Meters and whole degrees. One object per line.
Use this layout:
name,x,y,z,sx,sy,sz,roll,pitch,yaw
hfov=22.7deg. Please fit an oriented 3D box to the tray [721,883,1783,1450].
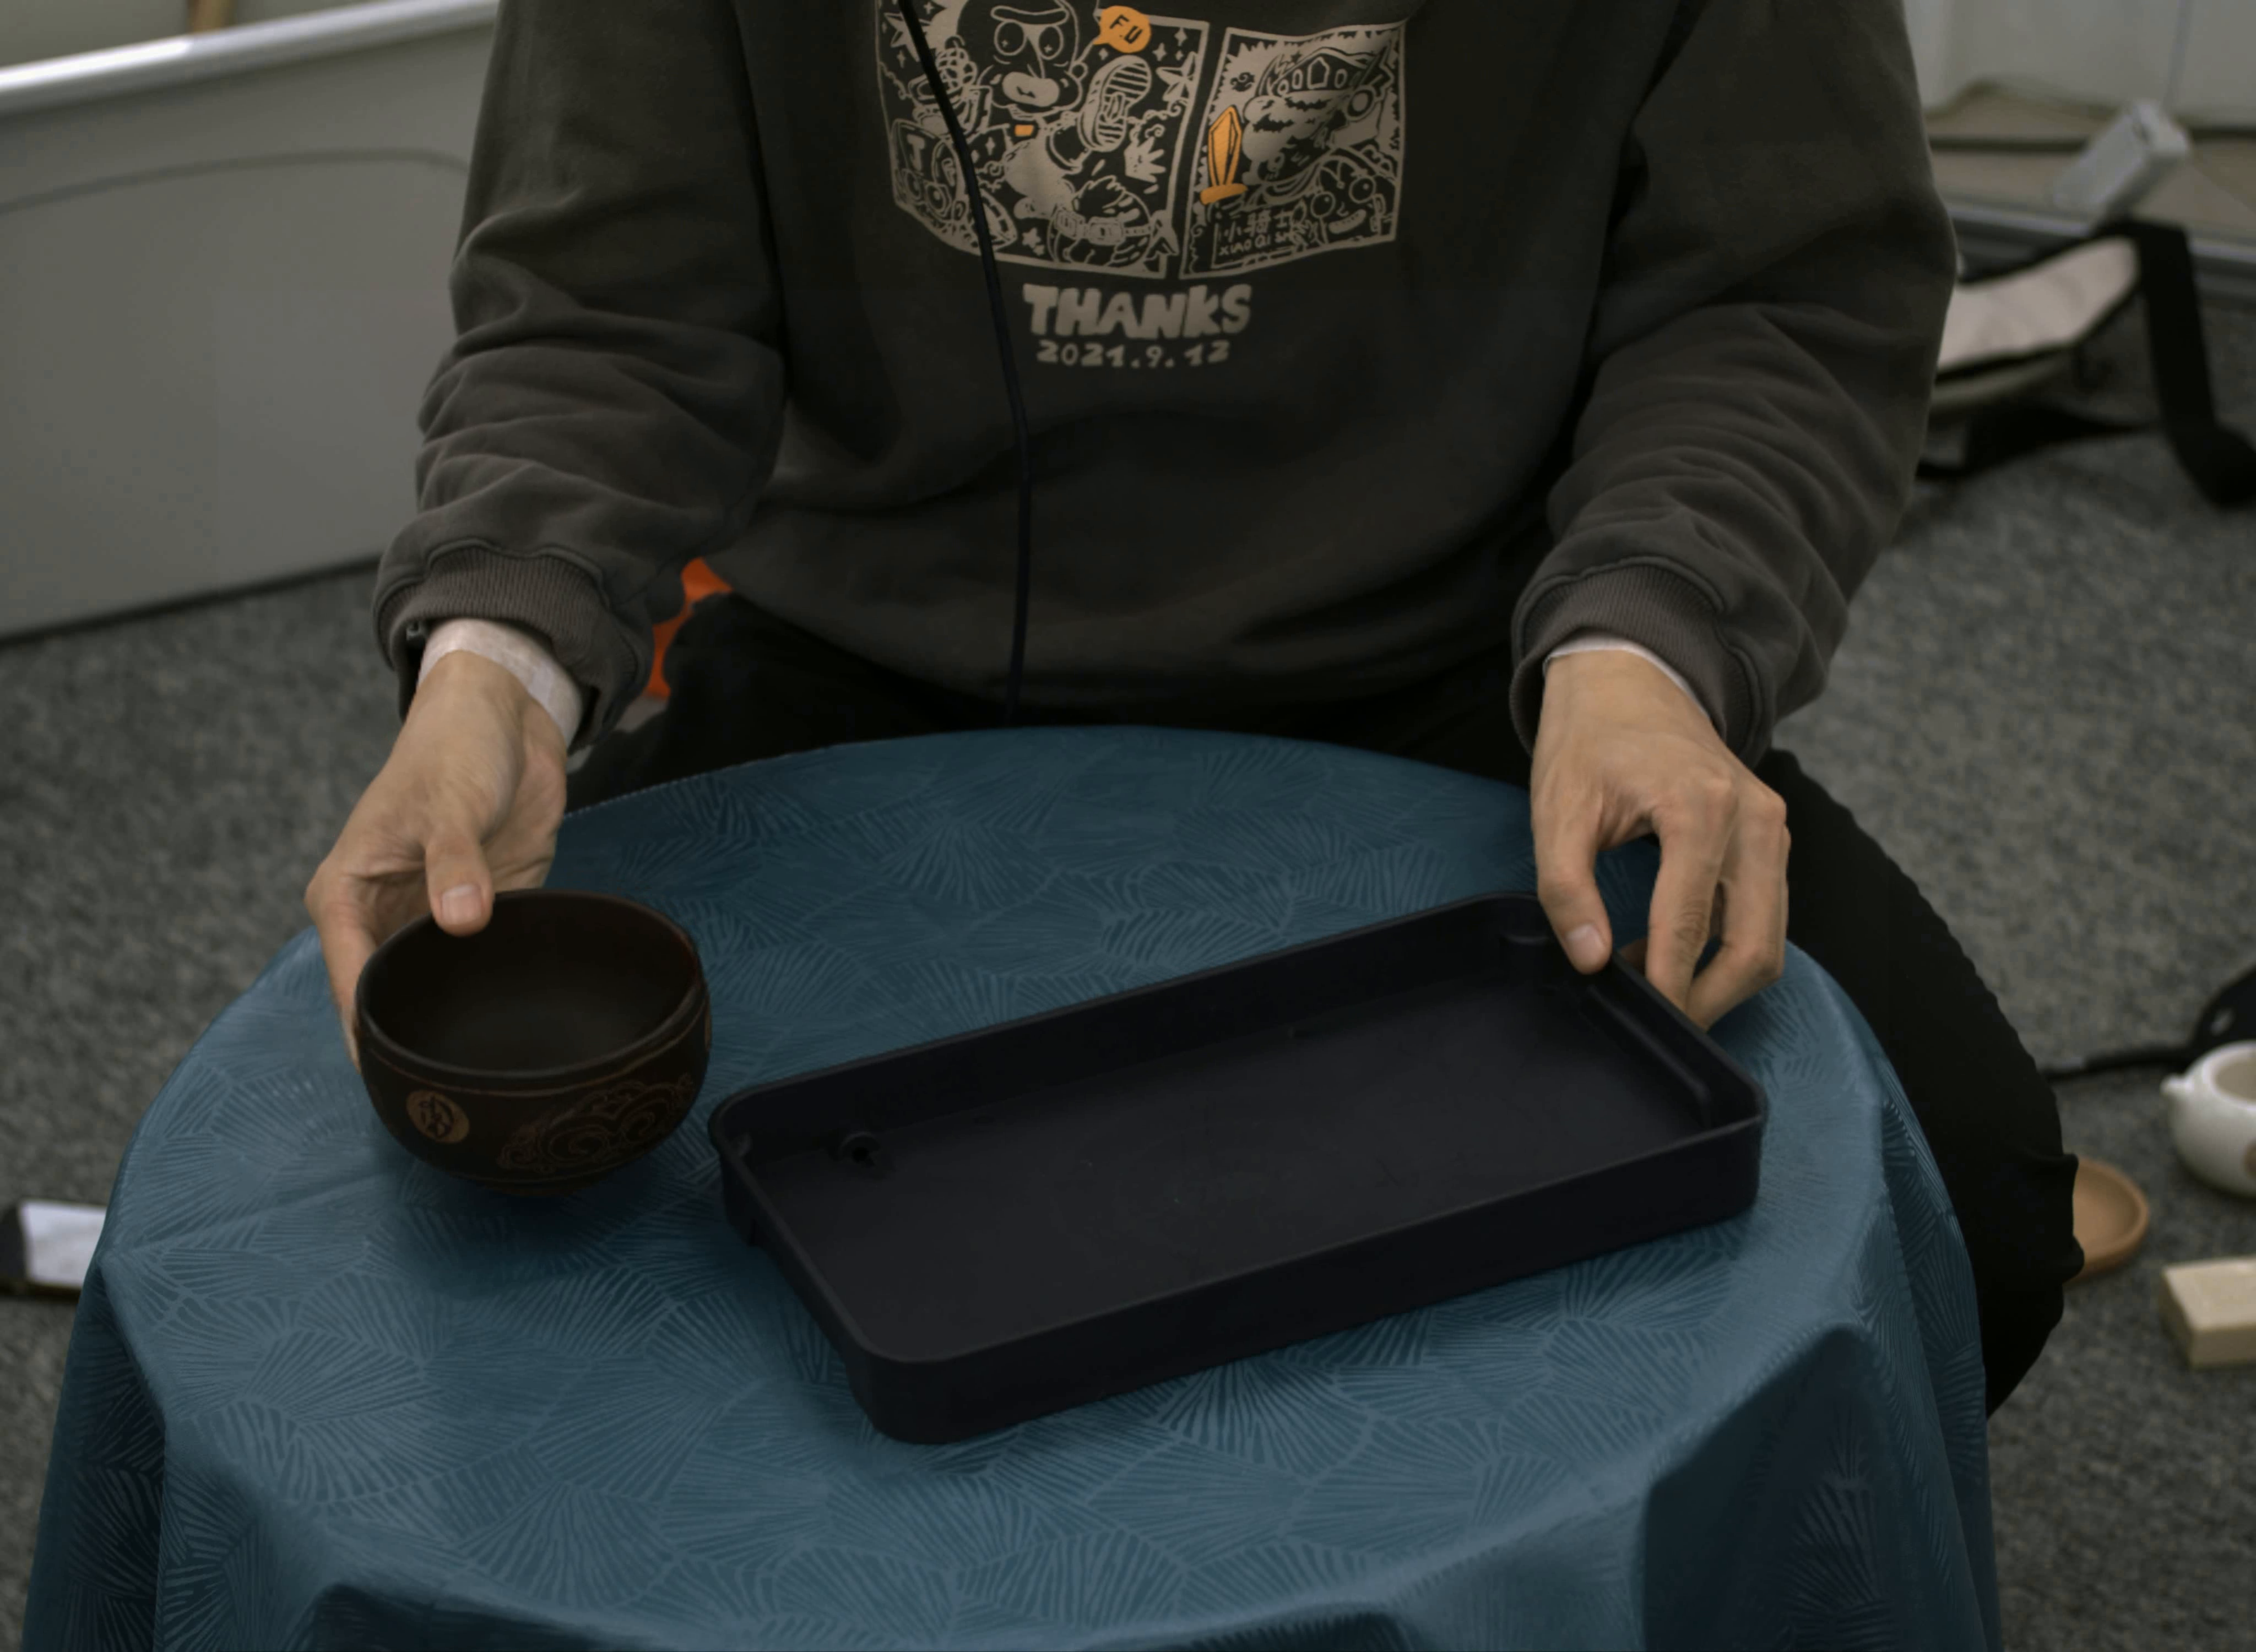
tray,0.040,0.107,1.846,0.319,0.036,0.185,-16,29,-21

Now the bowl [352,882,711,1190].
bowl,-0.197,0.078,1.867,0.117,0.069,0.120,-1,29,1
